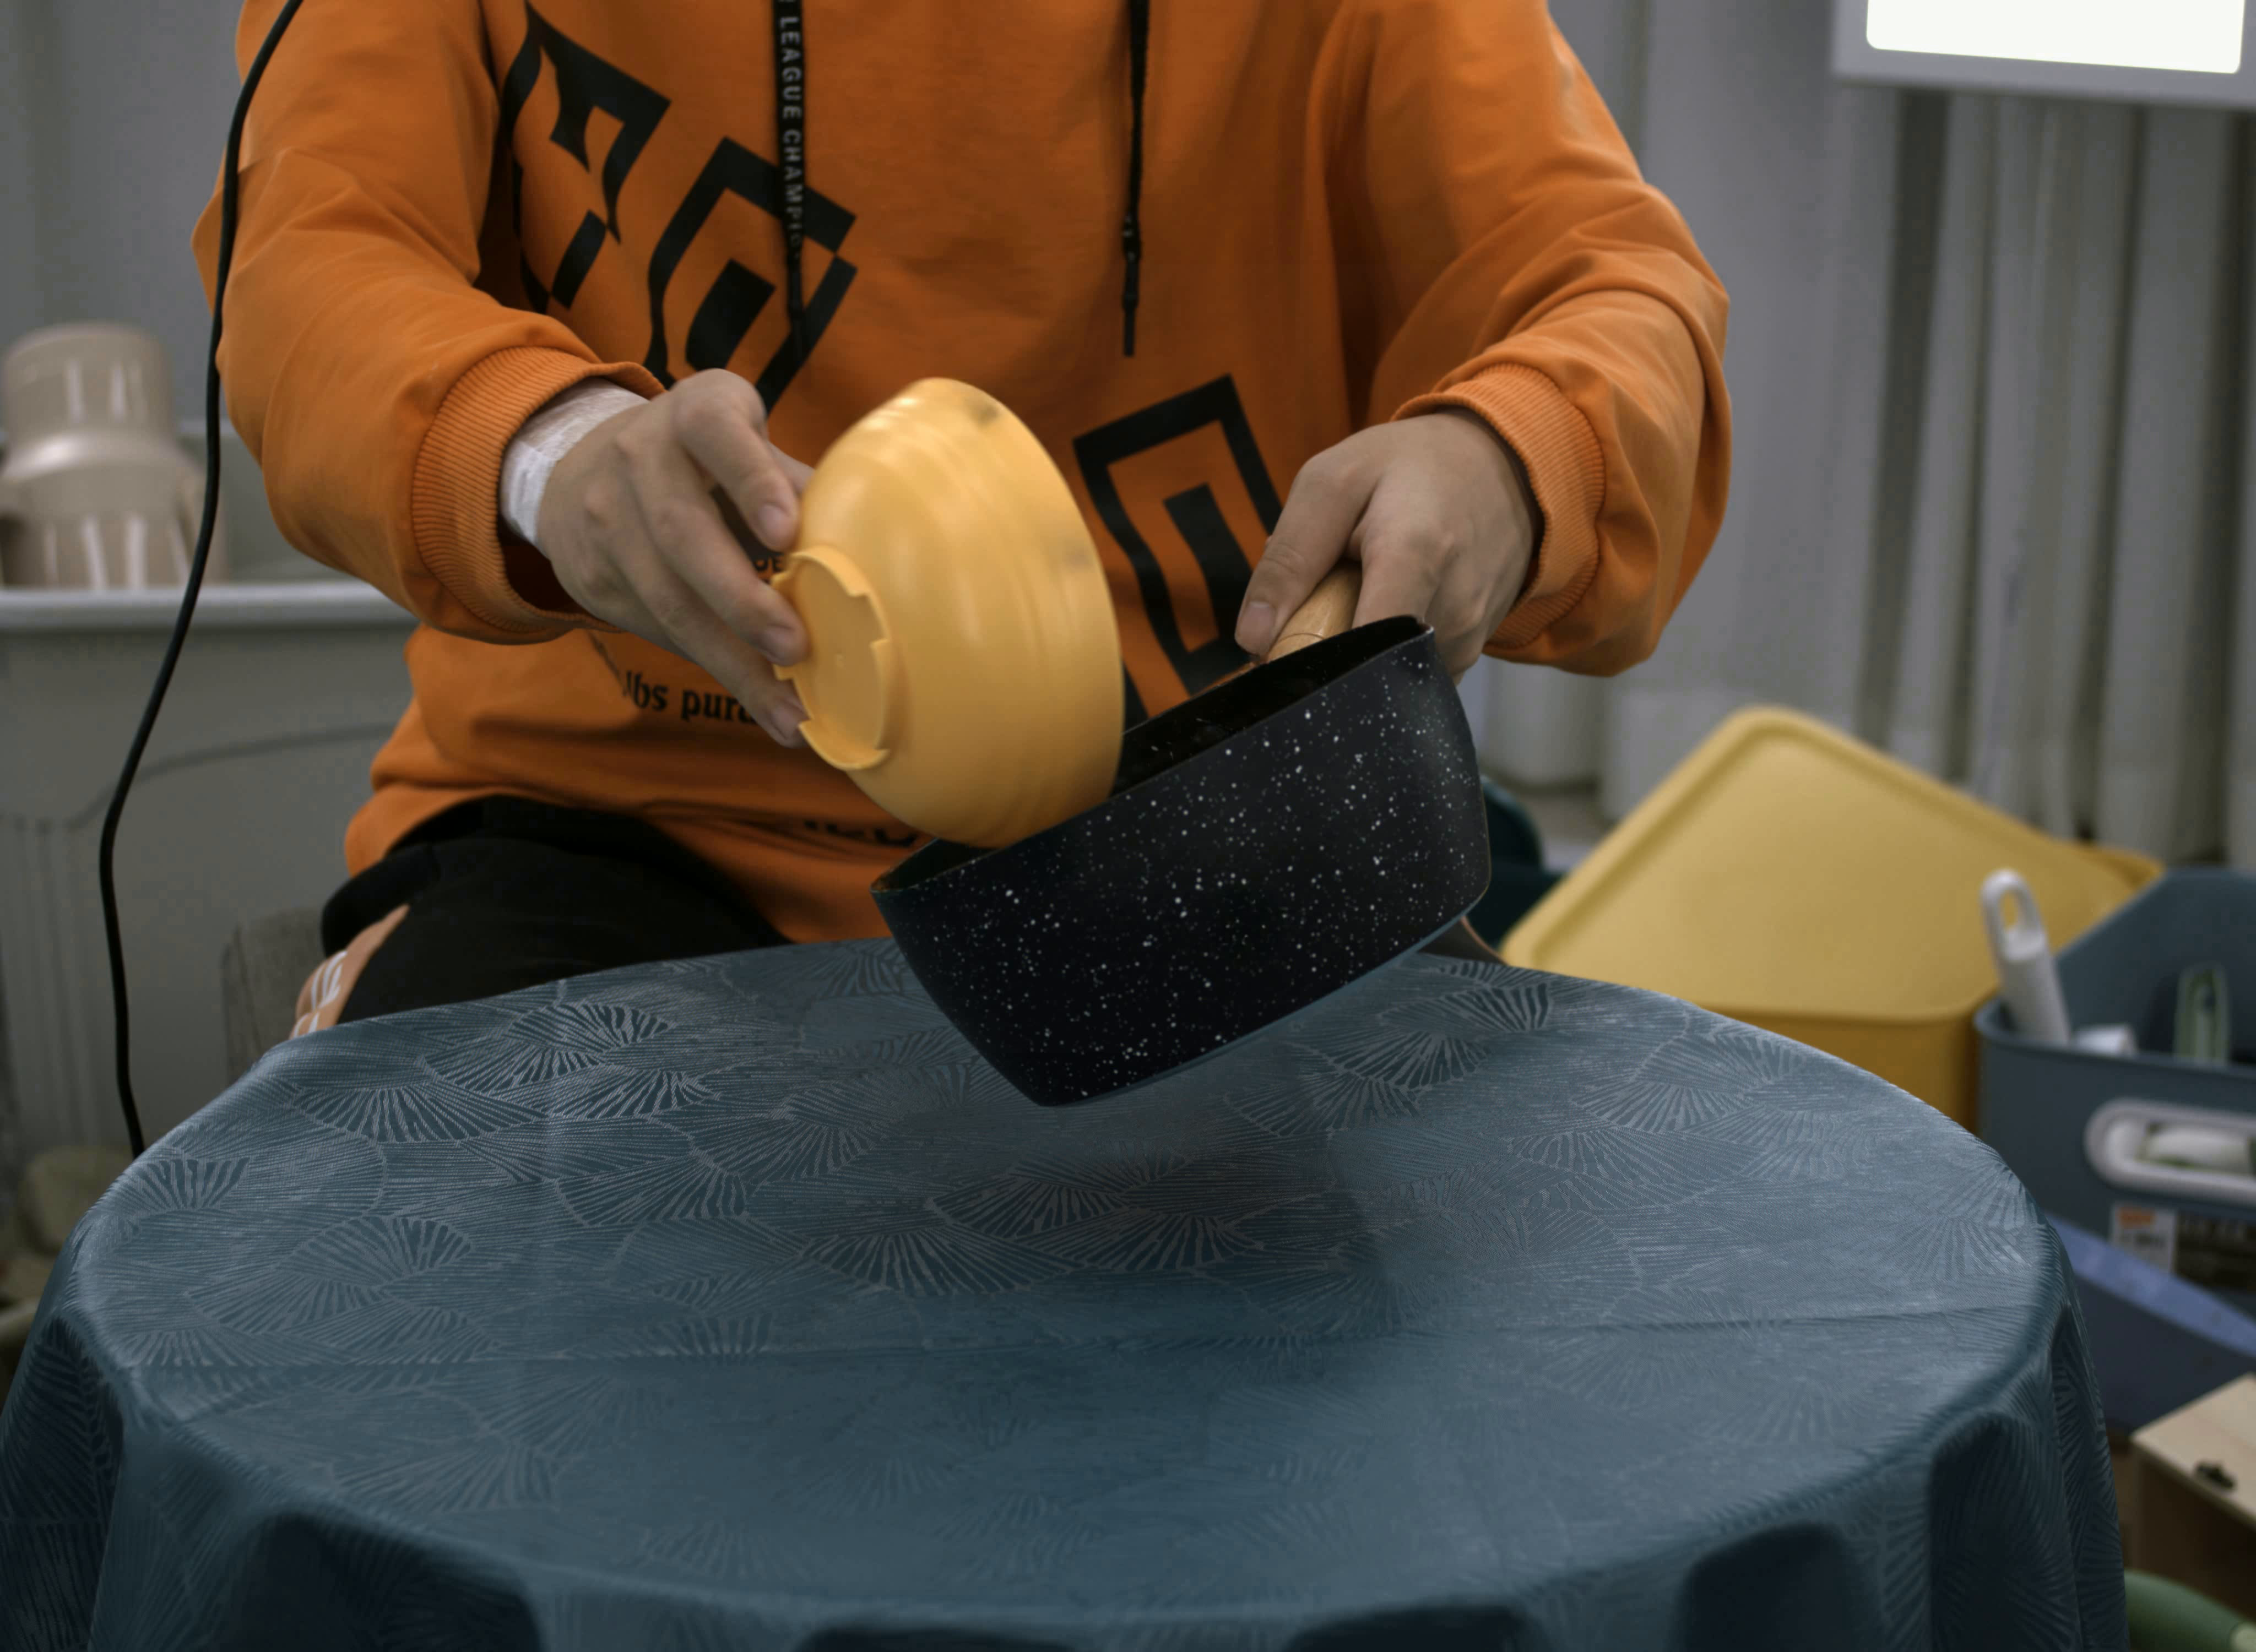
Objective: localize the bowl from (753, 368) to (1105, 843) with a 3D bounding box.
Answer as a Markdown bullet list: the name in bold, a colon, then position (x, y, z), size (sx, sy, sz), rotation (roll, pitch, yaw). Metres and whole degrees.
- **bowl**: position (-0.068, -0.057, 1.544), size (0.060, 0.147, 0.143), rotation (-18, 23, -29)

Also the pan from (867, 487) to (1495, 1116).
- **pan**: position (0.044, -0.017, 1.644), size (0.206, 0.109, 0.343), rotation (-25, 7, 25)
